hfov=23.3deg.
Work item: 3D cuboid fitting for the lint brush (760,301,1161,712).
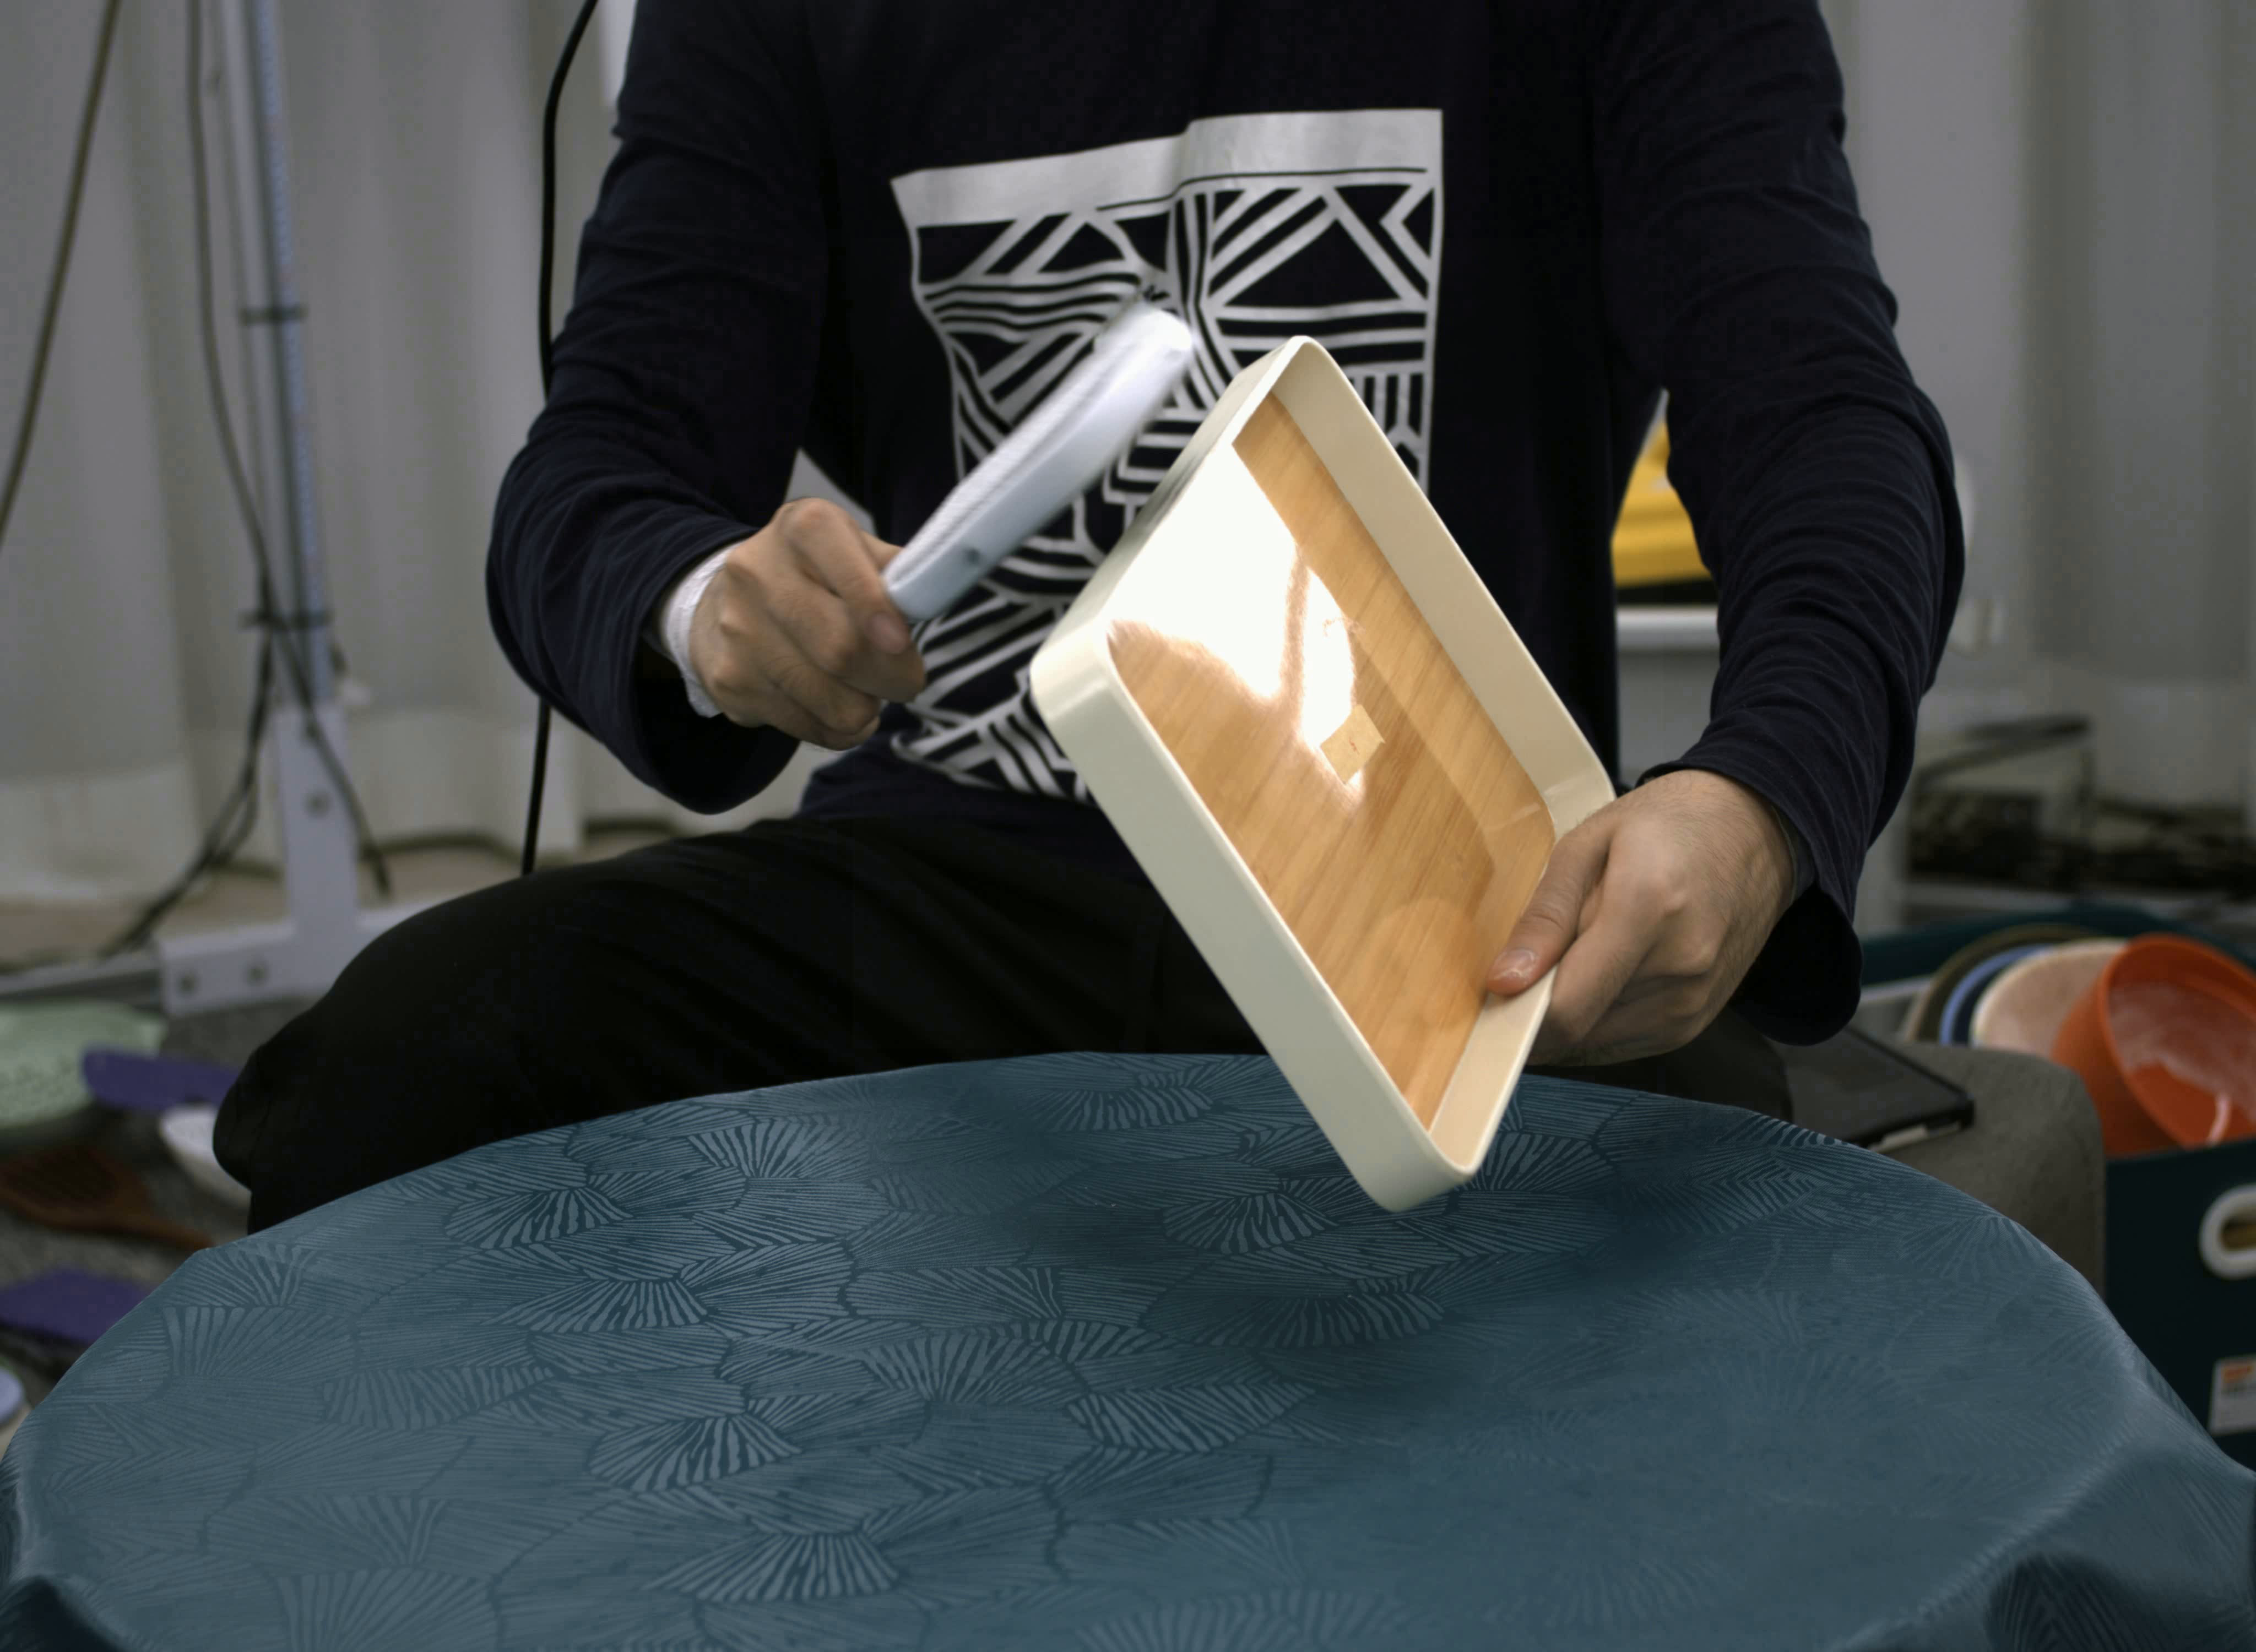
[{"bbox_3d":[-0.057,-0.090,1.672,0.021,0.060,0.307,35,-26,-9],"label":"lint brush"}]

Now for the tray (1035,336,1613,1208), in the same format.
[{"bbox_3d":[0.065,-0.024,1.620,0.027,0.191,0.302,-30,11,22],"label":"tray"}]
